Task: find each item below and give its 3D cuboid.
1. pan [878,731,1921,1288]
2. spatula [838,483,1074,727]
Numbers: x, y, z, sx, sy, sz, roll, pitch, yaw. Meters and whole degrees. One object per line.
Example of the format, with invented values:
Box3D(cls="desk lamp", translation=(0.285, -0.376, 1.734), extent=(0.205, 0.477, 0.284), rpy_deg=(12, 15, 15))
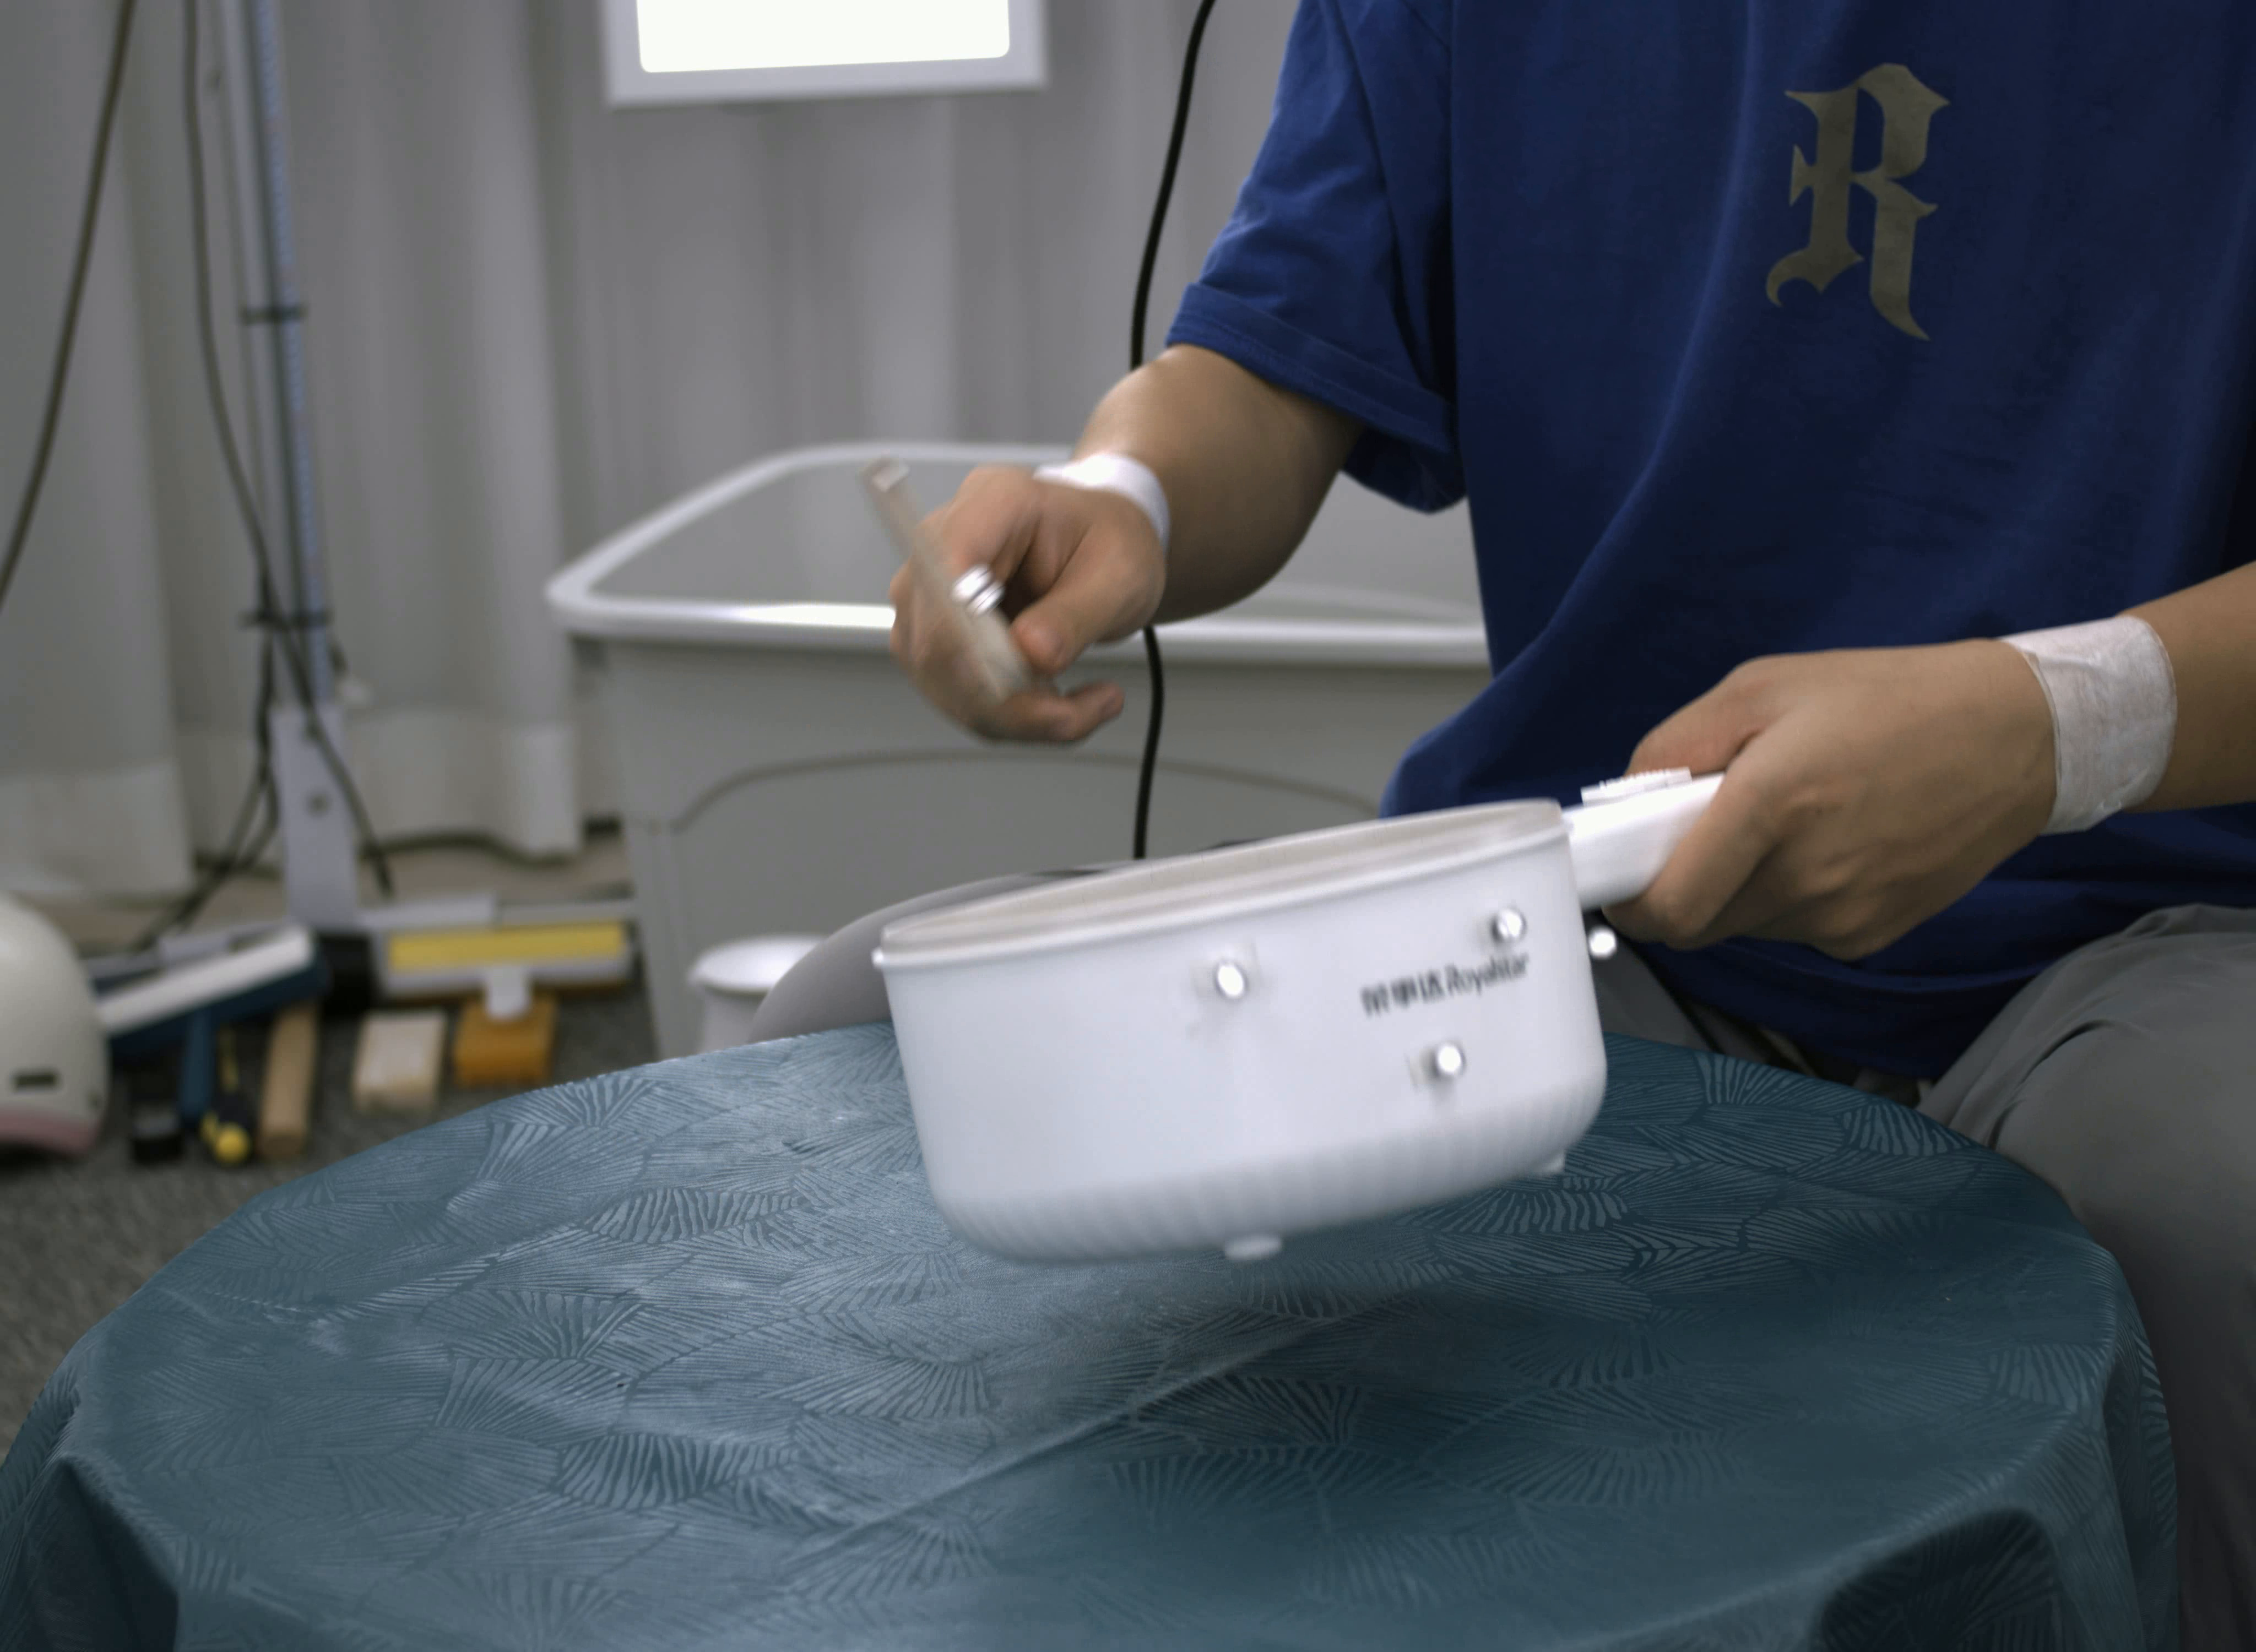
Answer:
Box3D(cls="pan", translation=(0.097, 0.051, 1.578), extent=(0.353, 0.102, 0.201), rpy_deg=(-13, 1, -37))
Box3D(cls="spatula", translation=(-0.047, -0.057, 1.690), extent=(0.010, 0.072, 0.292), rpy_deg=(-31, -8, 5))
